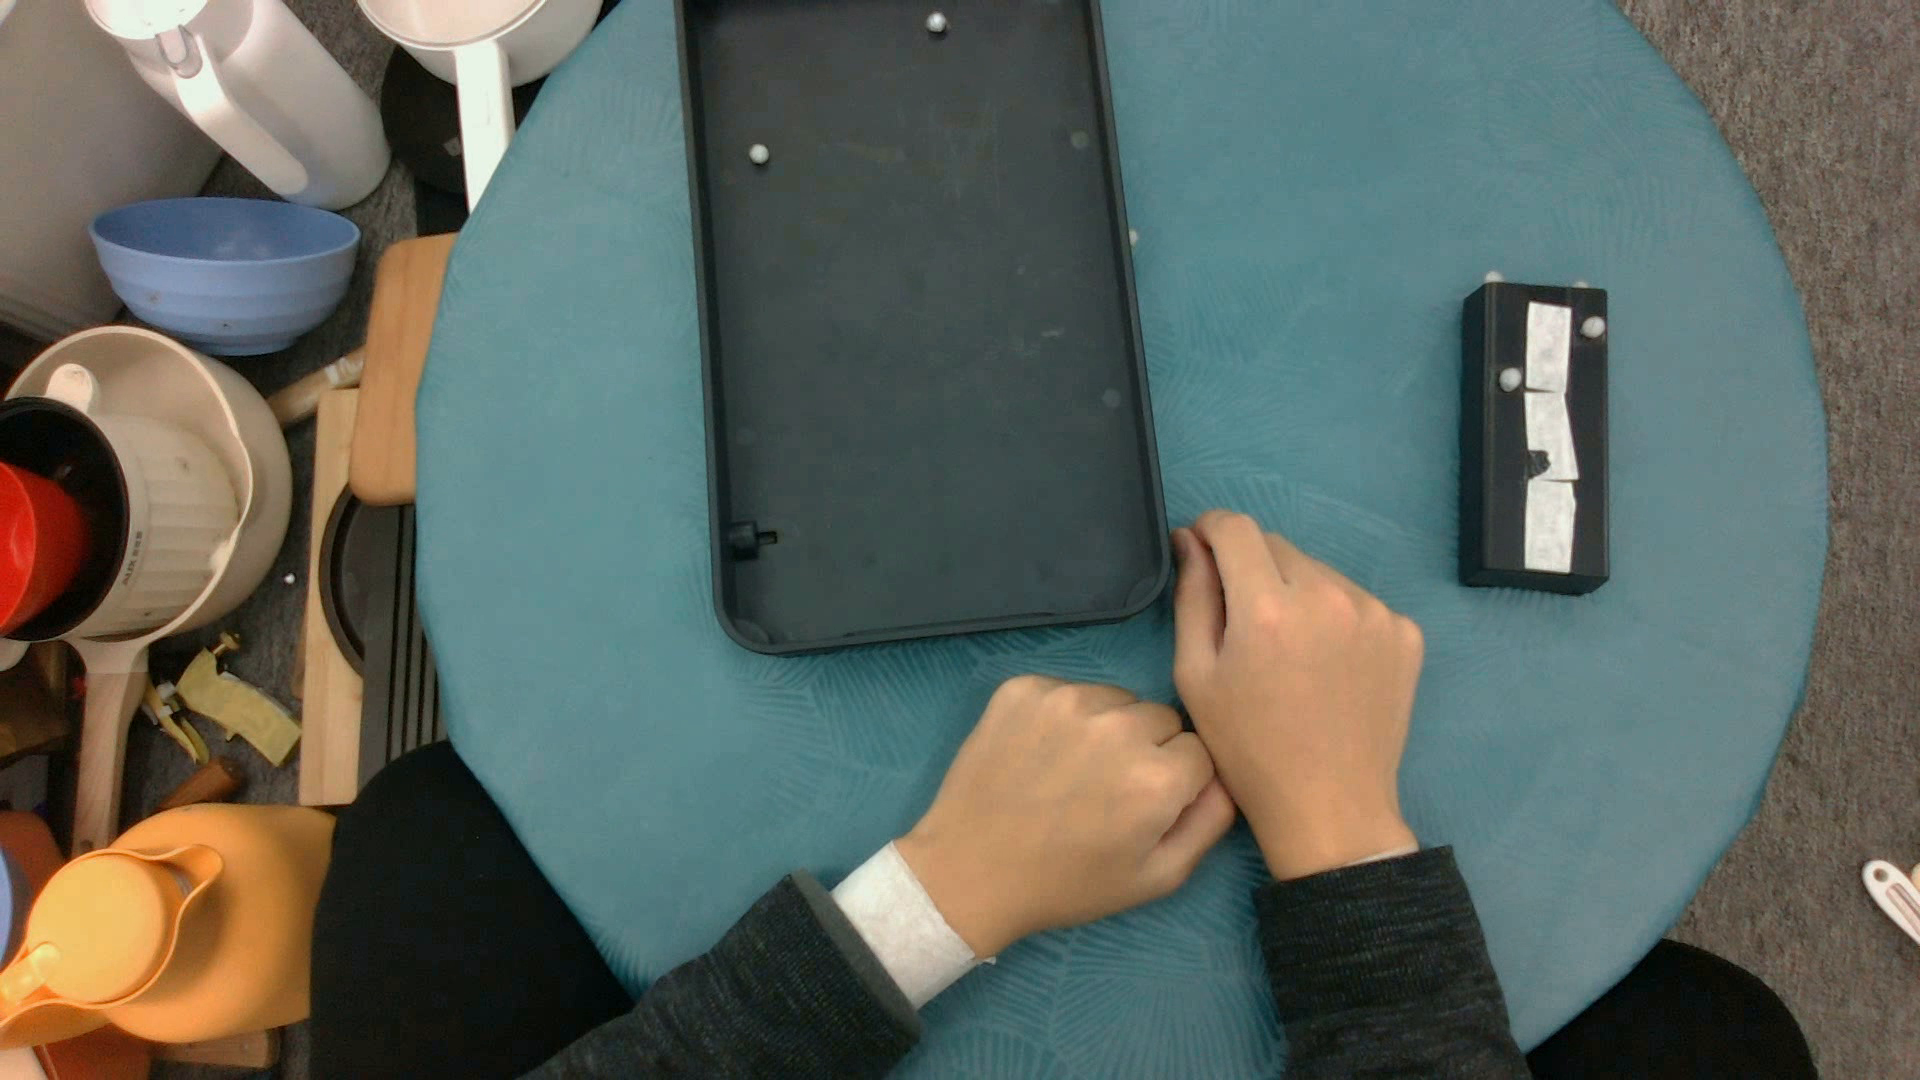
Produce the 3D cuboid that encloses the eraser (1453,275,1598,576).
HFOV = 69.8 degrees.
[{"bbox_3d":[0.233,-0.048,0.571,0.053,0.030,0.126,3,79,5],"label":"eraser"}]

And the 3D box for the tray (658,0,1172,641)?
[{"bbox_3d":[-0.024,-0.121,0.591,0.184,0.037,0.318,-8,78,0],"label":"tray"}]
